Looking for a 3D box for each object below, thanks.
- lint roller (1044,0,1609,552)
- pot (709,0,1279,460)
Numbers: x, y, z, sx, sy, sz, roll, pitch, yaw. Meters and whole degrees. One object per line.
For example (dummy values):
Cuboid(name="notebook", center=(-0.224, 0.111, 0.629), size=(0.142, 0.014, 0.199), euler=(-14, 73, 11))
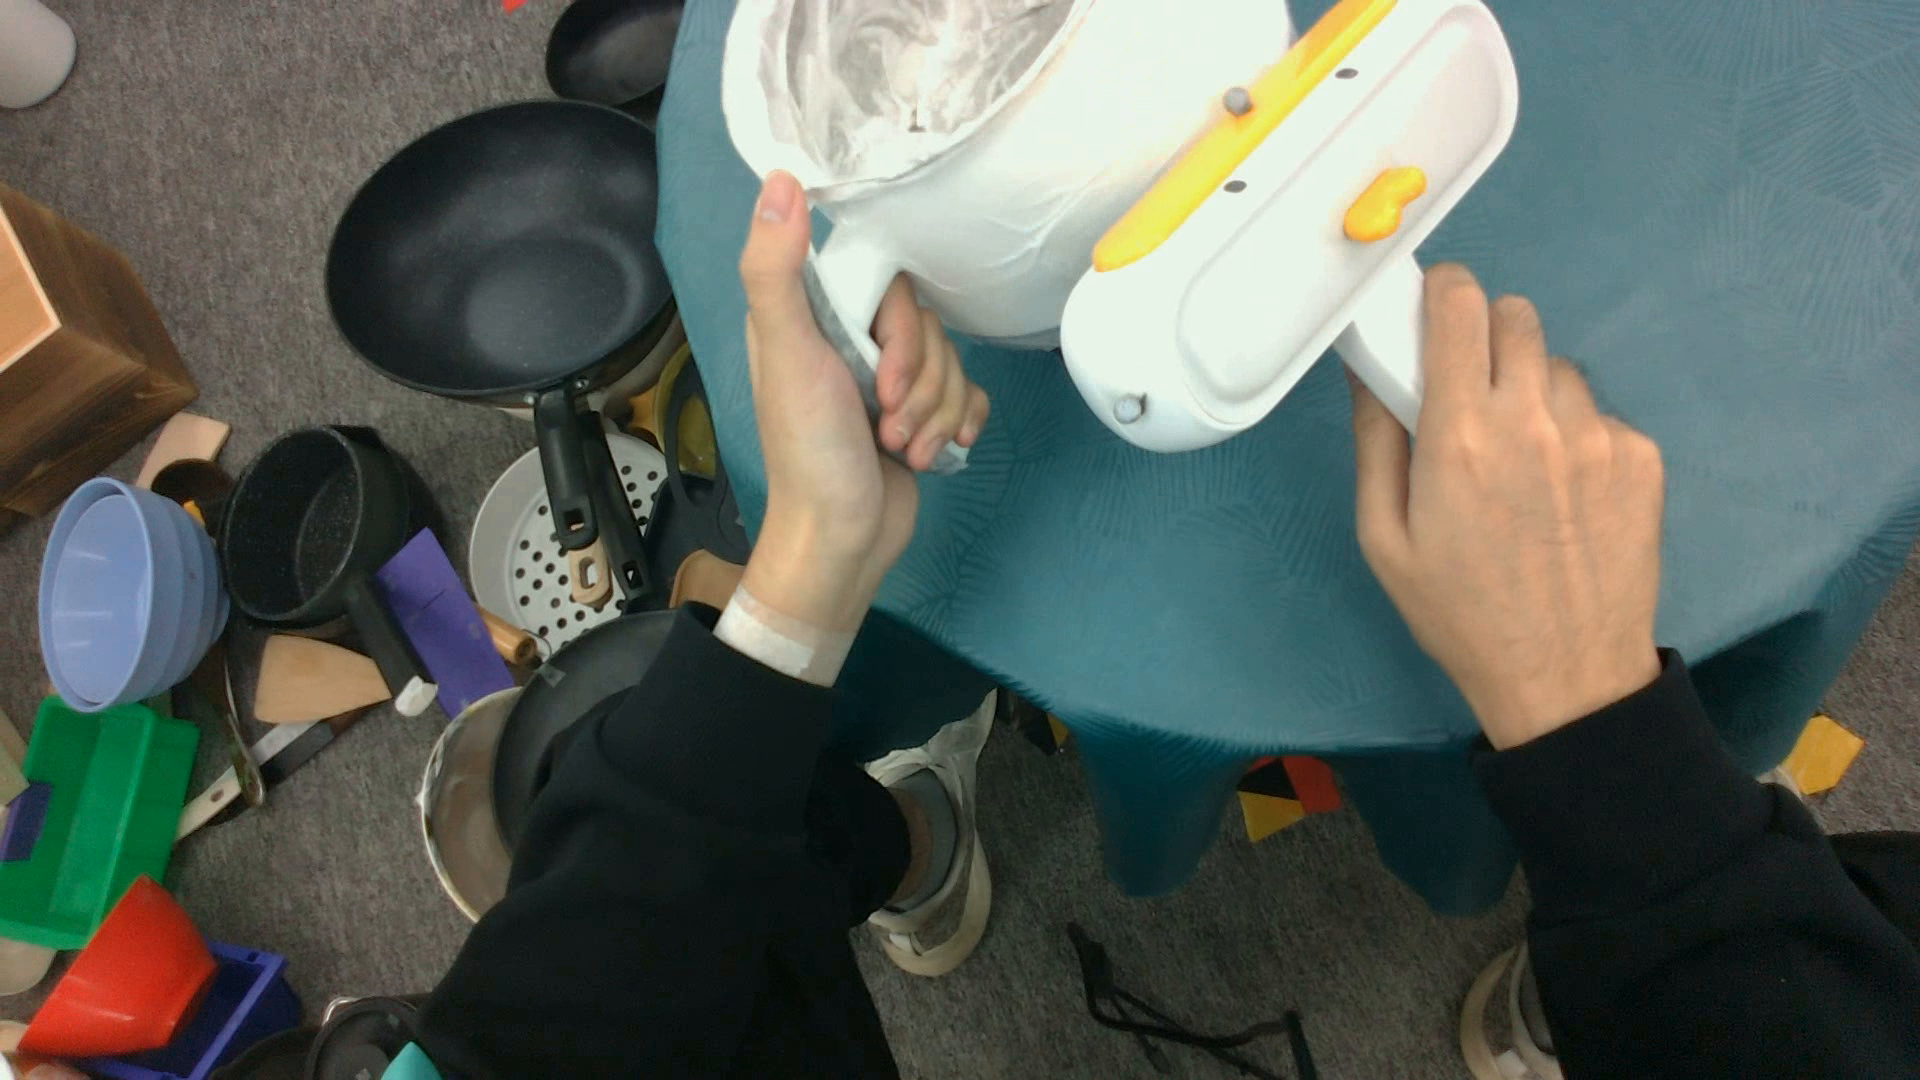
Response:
Cuboid(name="lint roller", center=(0.143, -0.068, 0.458), size=(0.192, 0.074, 0.193), euler=(47, 66, -21))
Cuboid(name="pot", center=(0.005, -0.150, 0.500), size=(0.178, 0.136, 0.234), euler=(20, 81, 43))
